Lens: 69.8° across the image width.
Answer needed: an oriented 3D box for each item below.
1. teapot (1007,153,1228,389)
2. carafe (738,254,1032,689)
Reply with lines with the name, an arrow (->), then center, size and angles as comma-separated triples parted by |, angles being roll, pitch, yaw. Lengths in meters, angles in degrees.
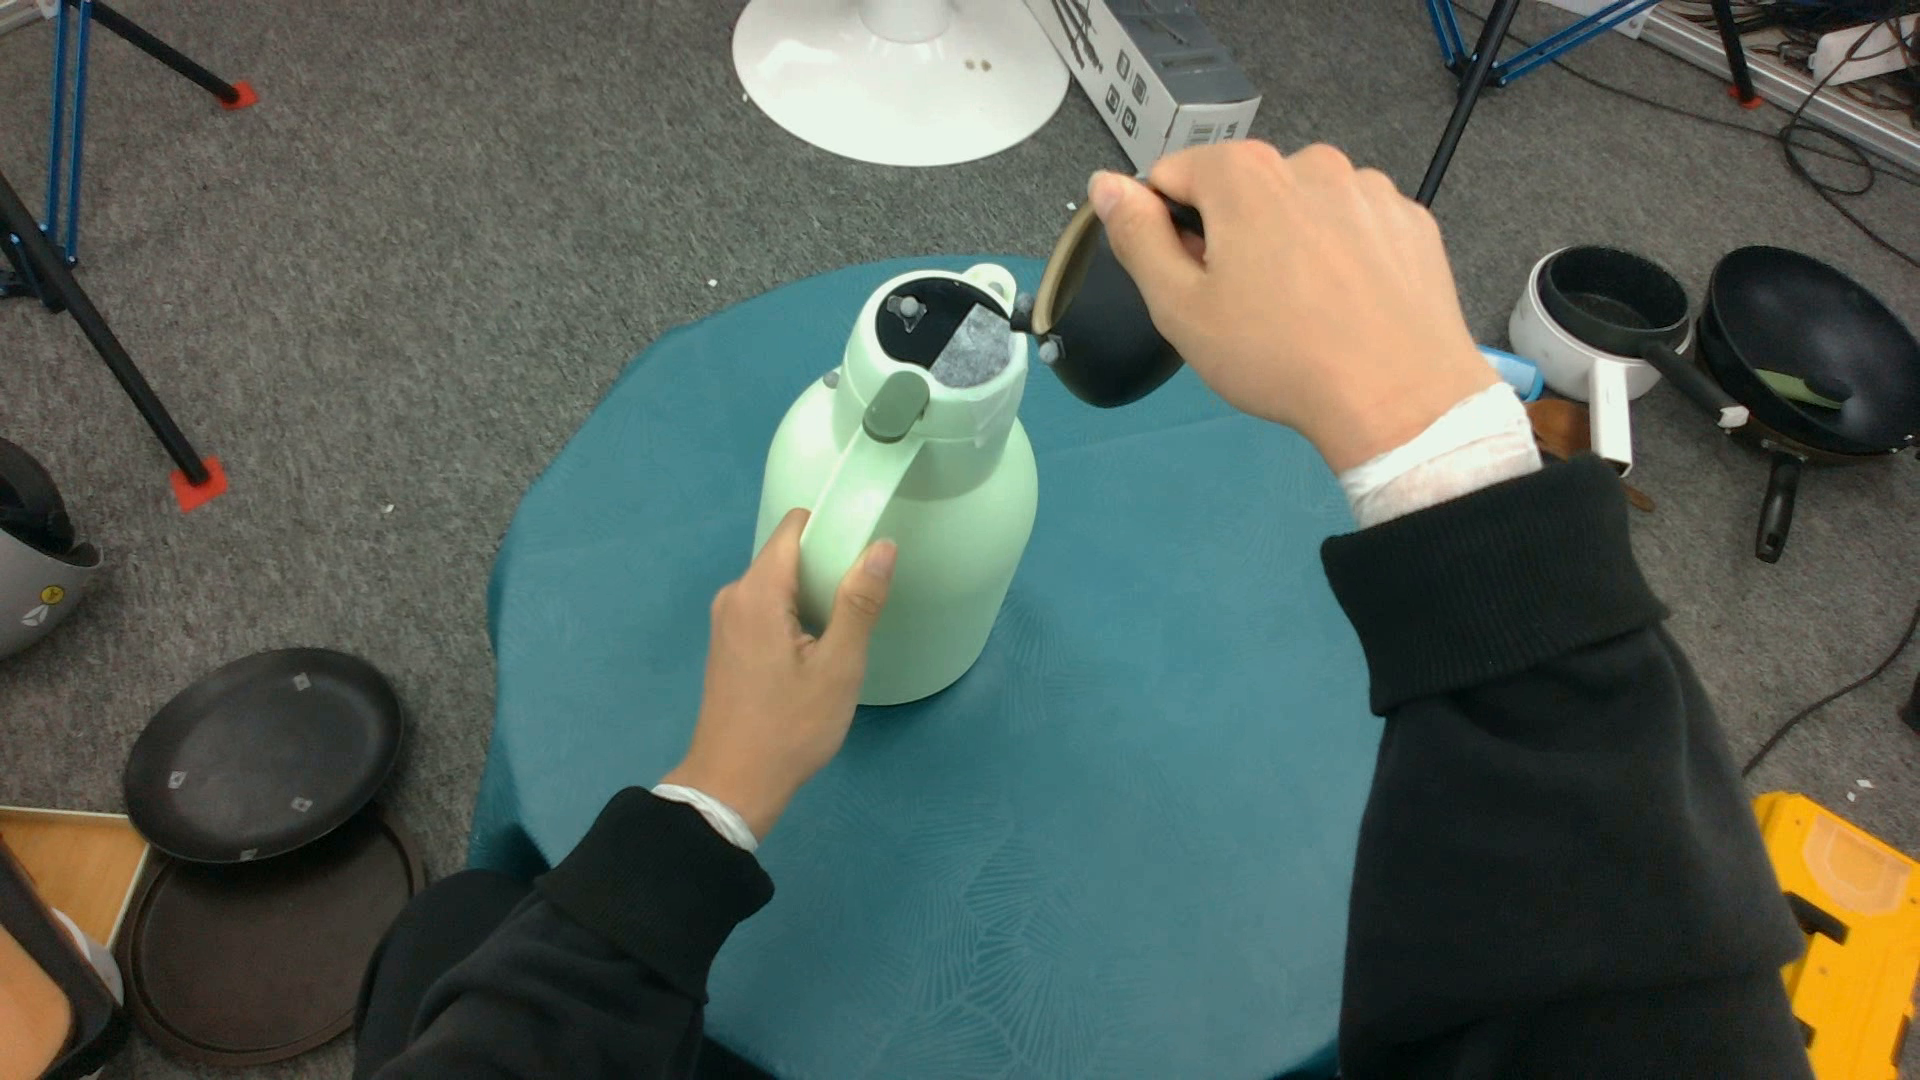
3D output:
teapot -> 0.062, -0.102, 0.519 | 0.053, 0.133, 0.091 | 18, 74, -13
carafe -> -0.039, -0.022, 0.703 | 0.144, 0.255, 0.187 | 27, 60, 2
